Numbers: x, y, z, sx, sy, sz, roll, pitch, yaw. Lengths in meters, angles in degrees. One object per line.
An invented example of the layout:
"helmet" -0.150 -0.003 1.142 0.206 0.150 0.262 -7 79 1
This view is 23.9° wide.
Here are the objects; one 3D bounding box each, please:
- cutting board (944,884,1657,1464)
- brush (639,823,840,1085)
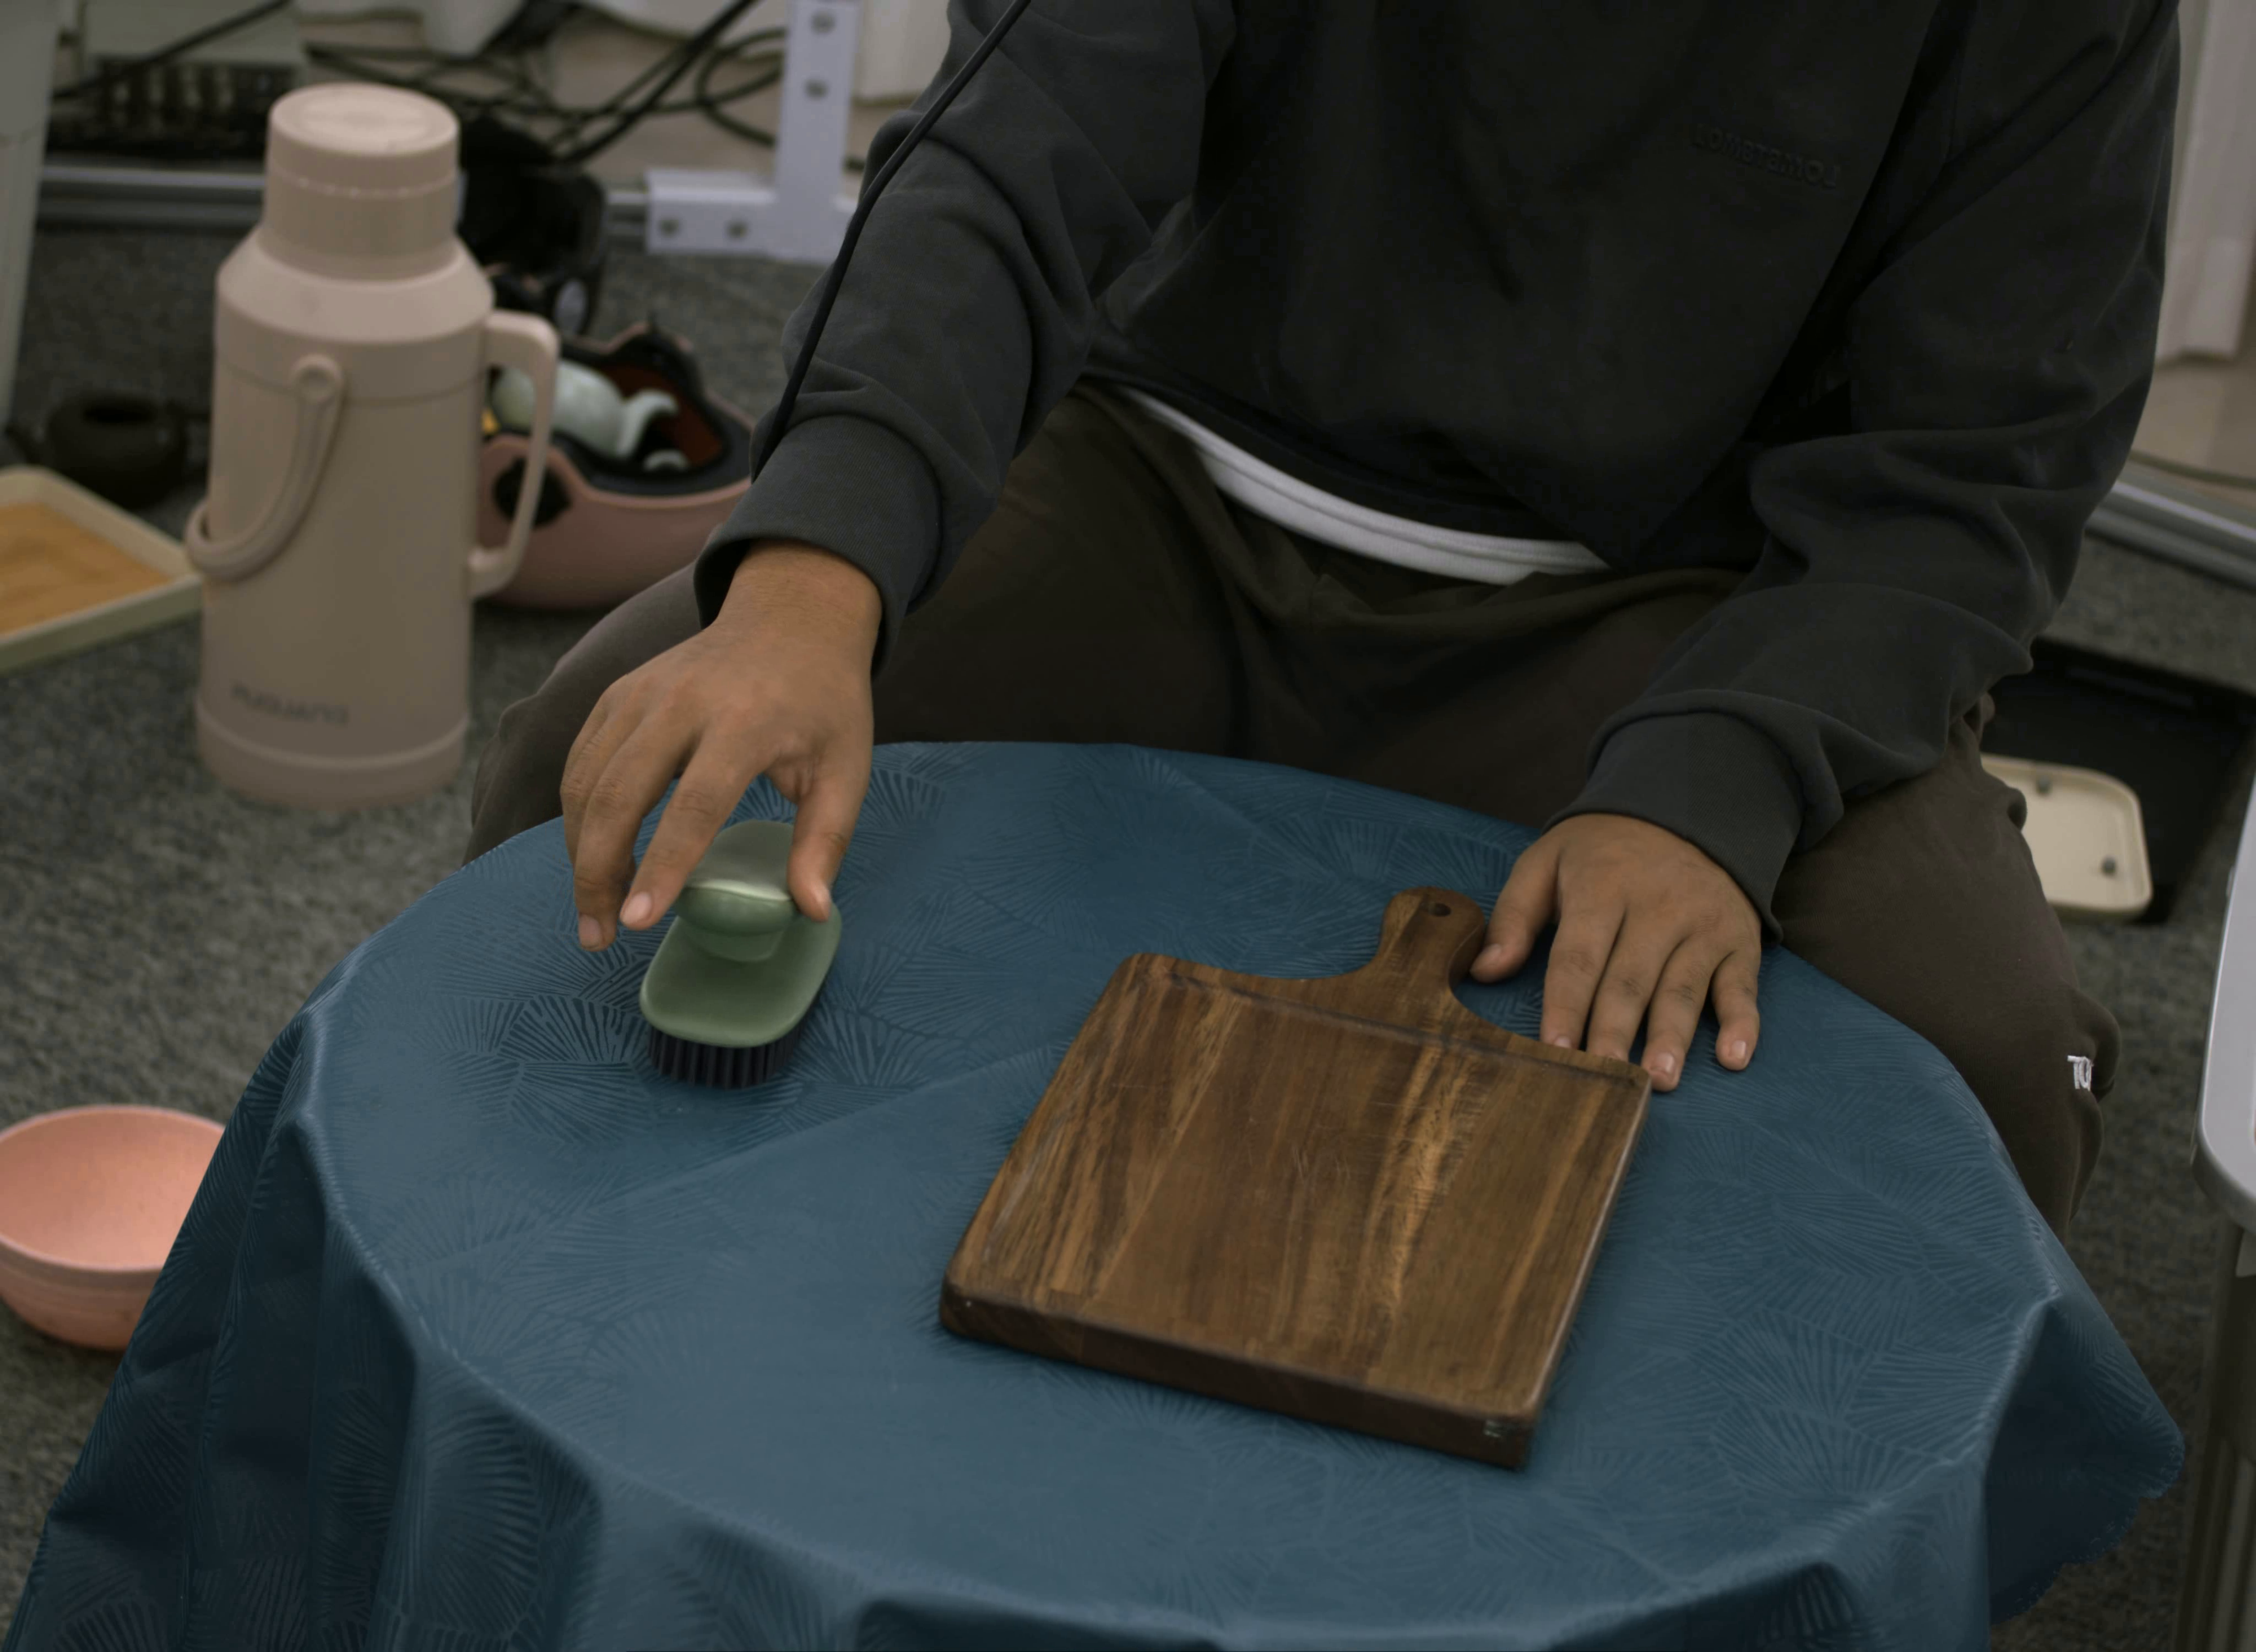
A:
"cutting board" 0.076 0.103 1.842 0.201 0.023 0.353 13 27 11
"brush" -0.136 0.043 1.874 0.059 0.076 0.123 10 13 5
